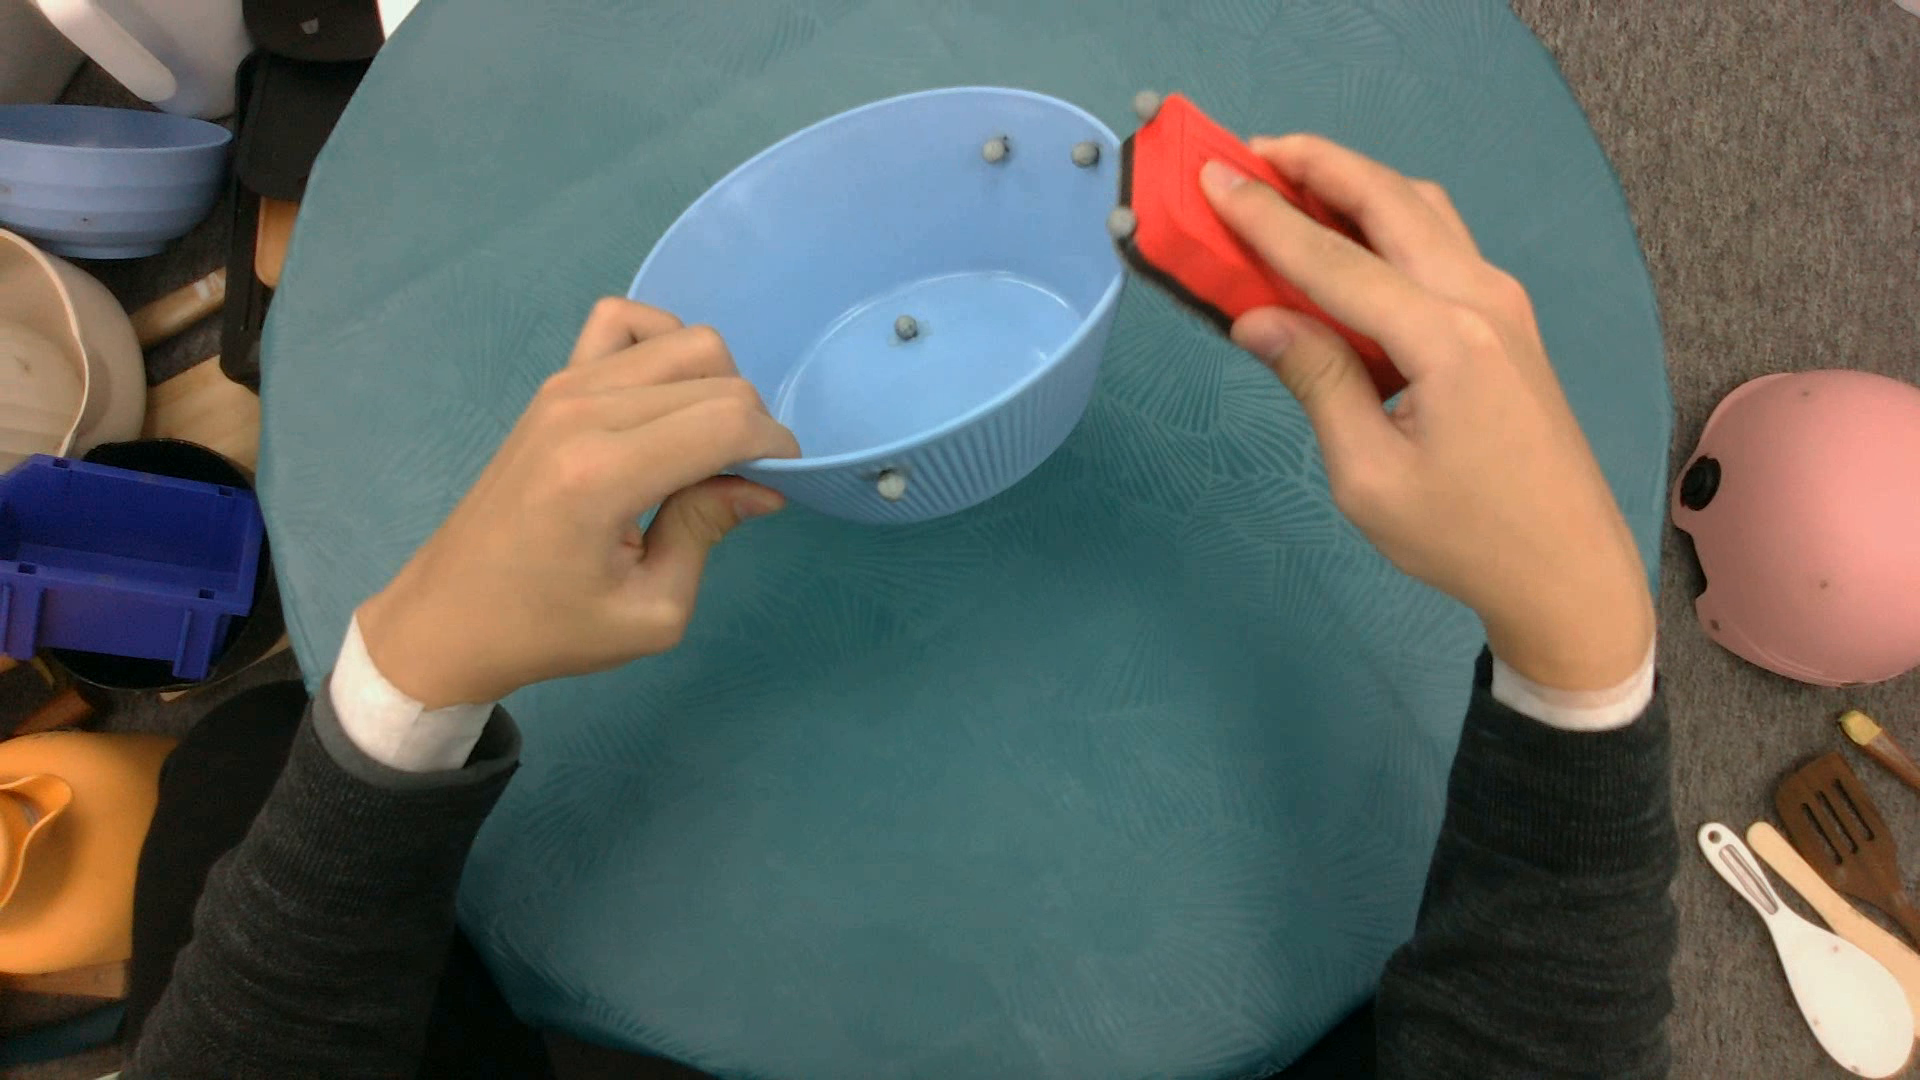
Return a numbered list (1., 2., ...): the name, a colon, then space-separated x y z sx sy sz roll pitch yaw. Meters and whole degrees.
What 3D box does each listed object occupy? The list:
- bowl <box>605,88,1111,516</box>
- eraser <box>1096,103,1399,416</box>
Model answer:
1. bowl: -0.025 -0.073 0.464 0.176 0.070 0.177 -10 49 12
2. eraser: 0.089 -0.084 0.421 0.108 0.023 0.059 26 48 -28
